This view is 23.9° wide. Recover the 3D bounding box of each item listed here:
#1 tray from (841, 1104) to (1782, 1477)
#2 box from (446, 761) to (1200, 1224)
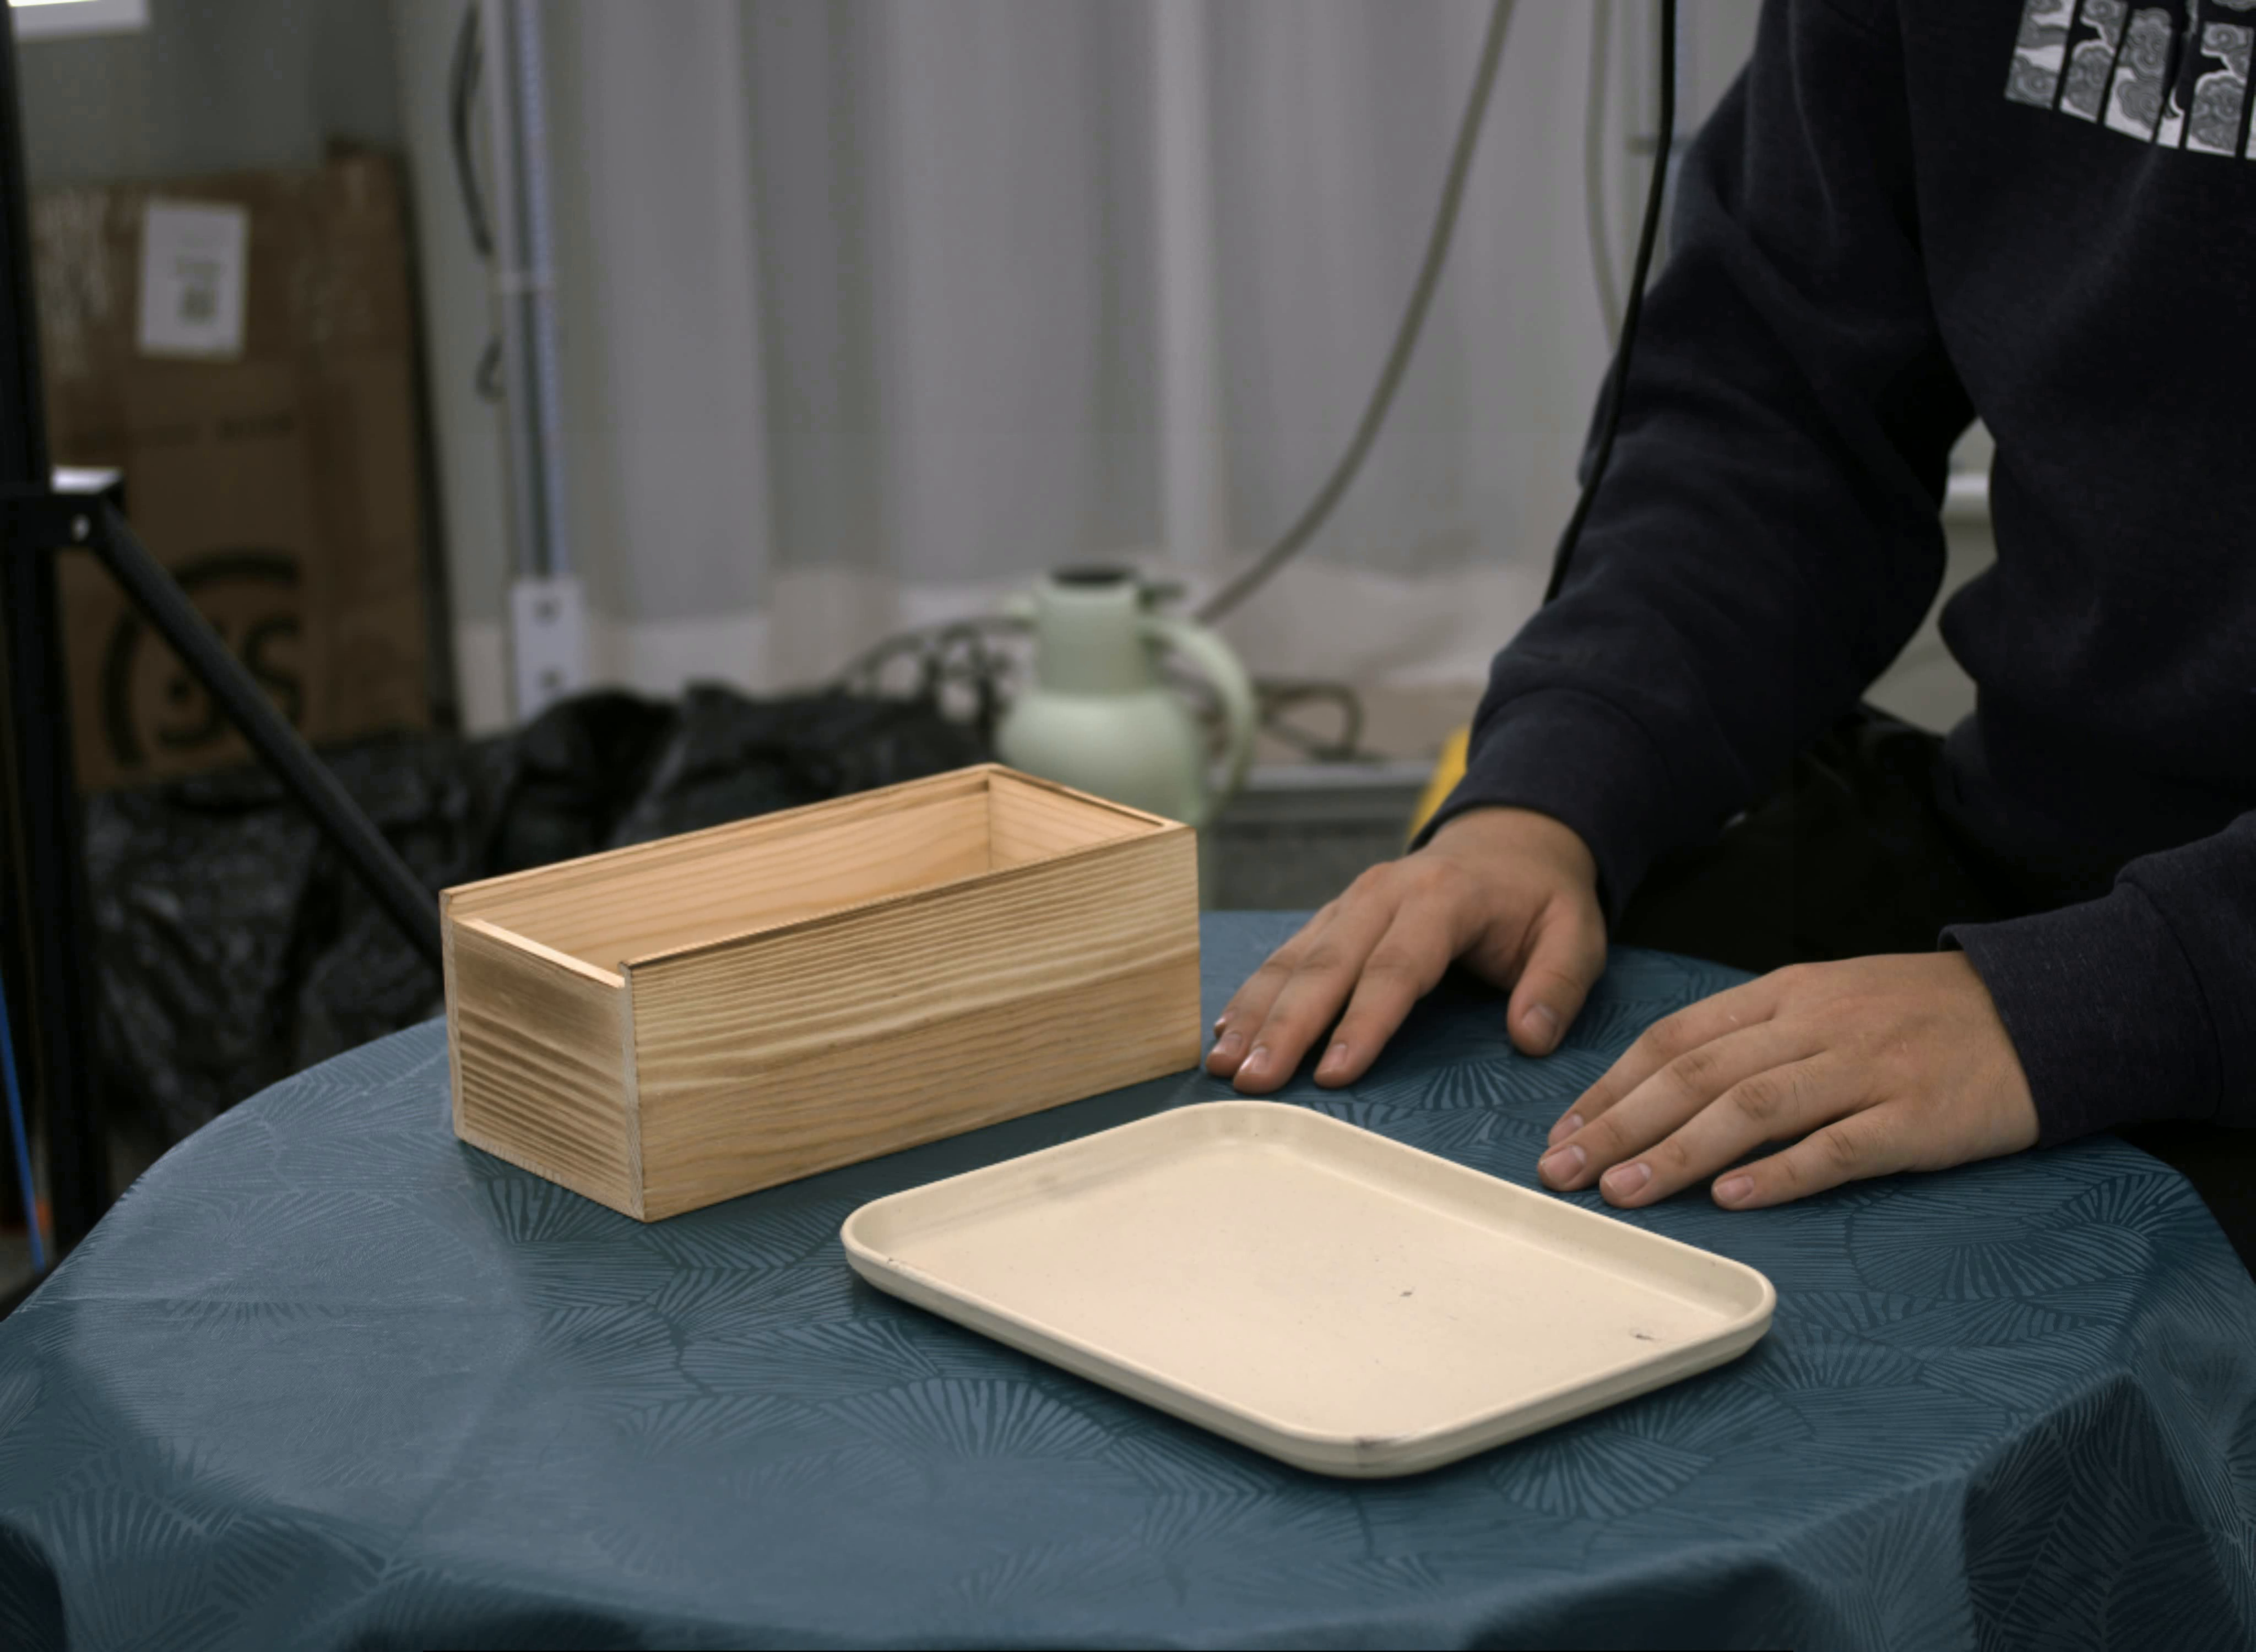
[{"bbox_3d":[0.048,0.126,1.456,0.167,0.017,0.245,-14,19,-36],"label":"tray"},{"bbox_3d":[-0.091,0.048,1.638,0.206,0.080,0.110,-14,20,-35],"label":"box"}]
